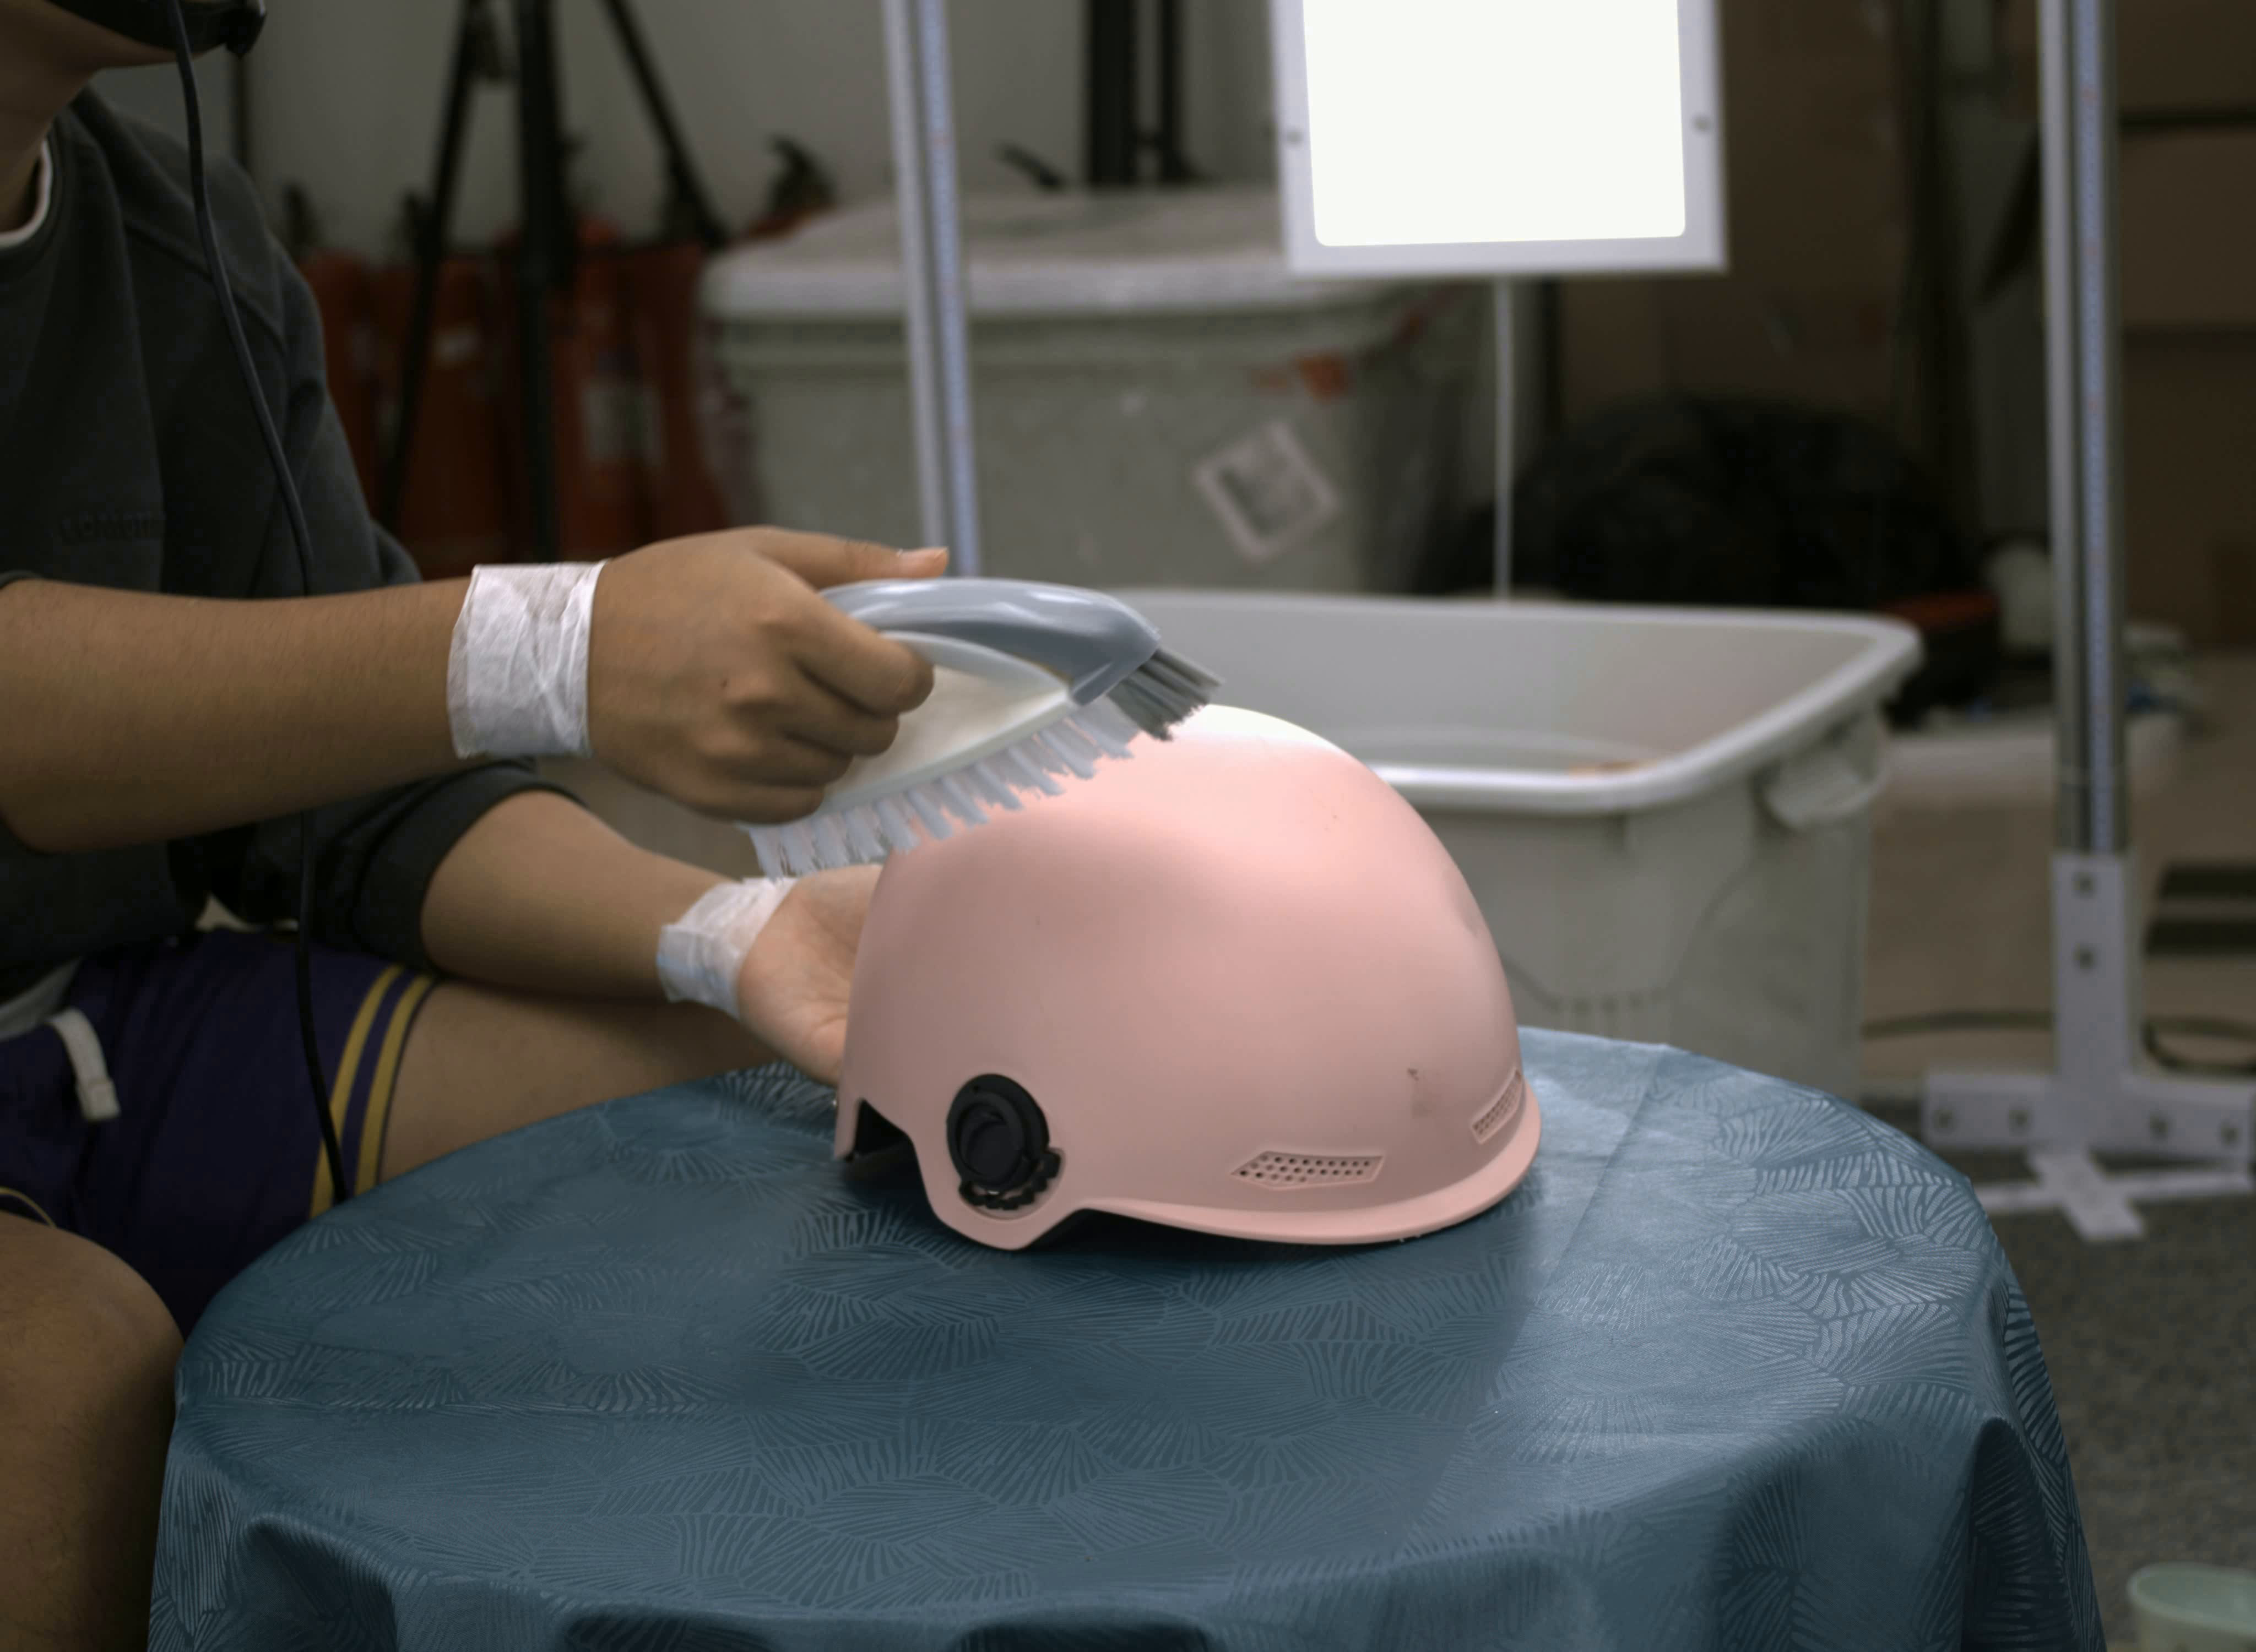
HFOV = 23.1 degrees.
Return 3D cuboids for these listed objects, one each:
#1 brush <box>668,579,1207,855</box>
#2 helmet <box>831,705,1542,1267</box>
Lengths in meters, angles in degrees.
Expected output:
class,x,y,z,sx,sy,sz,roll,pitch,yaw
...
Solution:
class,x,y,z,sx,sy,sz,roll,pitch,yaw
brush,-0.069,-0.048,1.773,0.179,0.093,0.061,-12,50,30
helmet,0.021,0.044,1.903,0.228,0.160,0.271,-15,23,-37
